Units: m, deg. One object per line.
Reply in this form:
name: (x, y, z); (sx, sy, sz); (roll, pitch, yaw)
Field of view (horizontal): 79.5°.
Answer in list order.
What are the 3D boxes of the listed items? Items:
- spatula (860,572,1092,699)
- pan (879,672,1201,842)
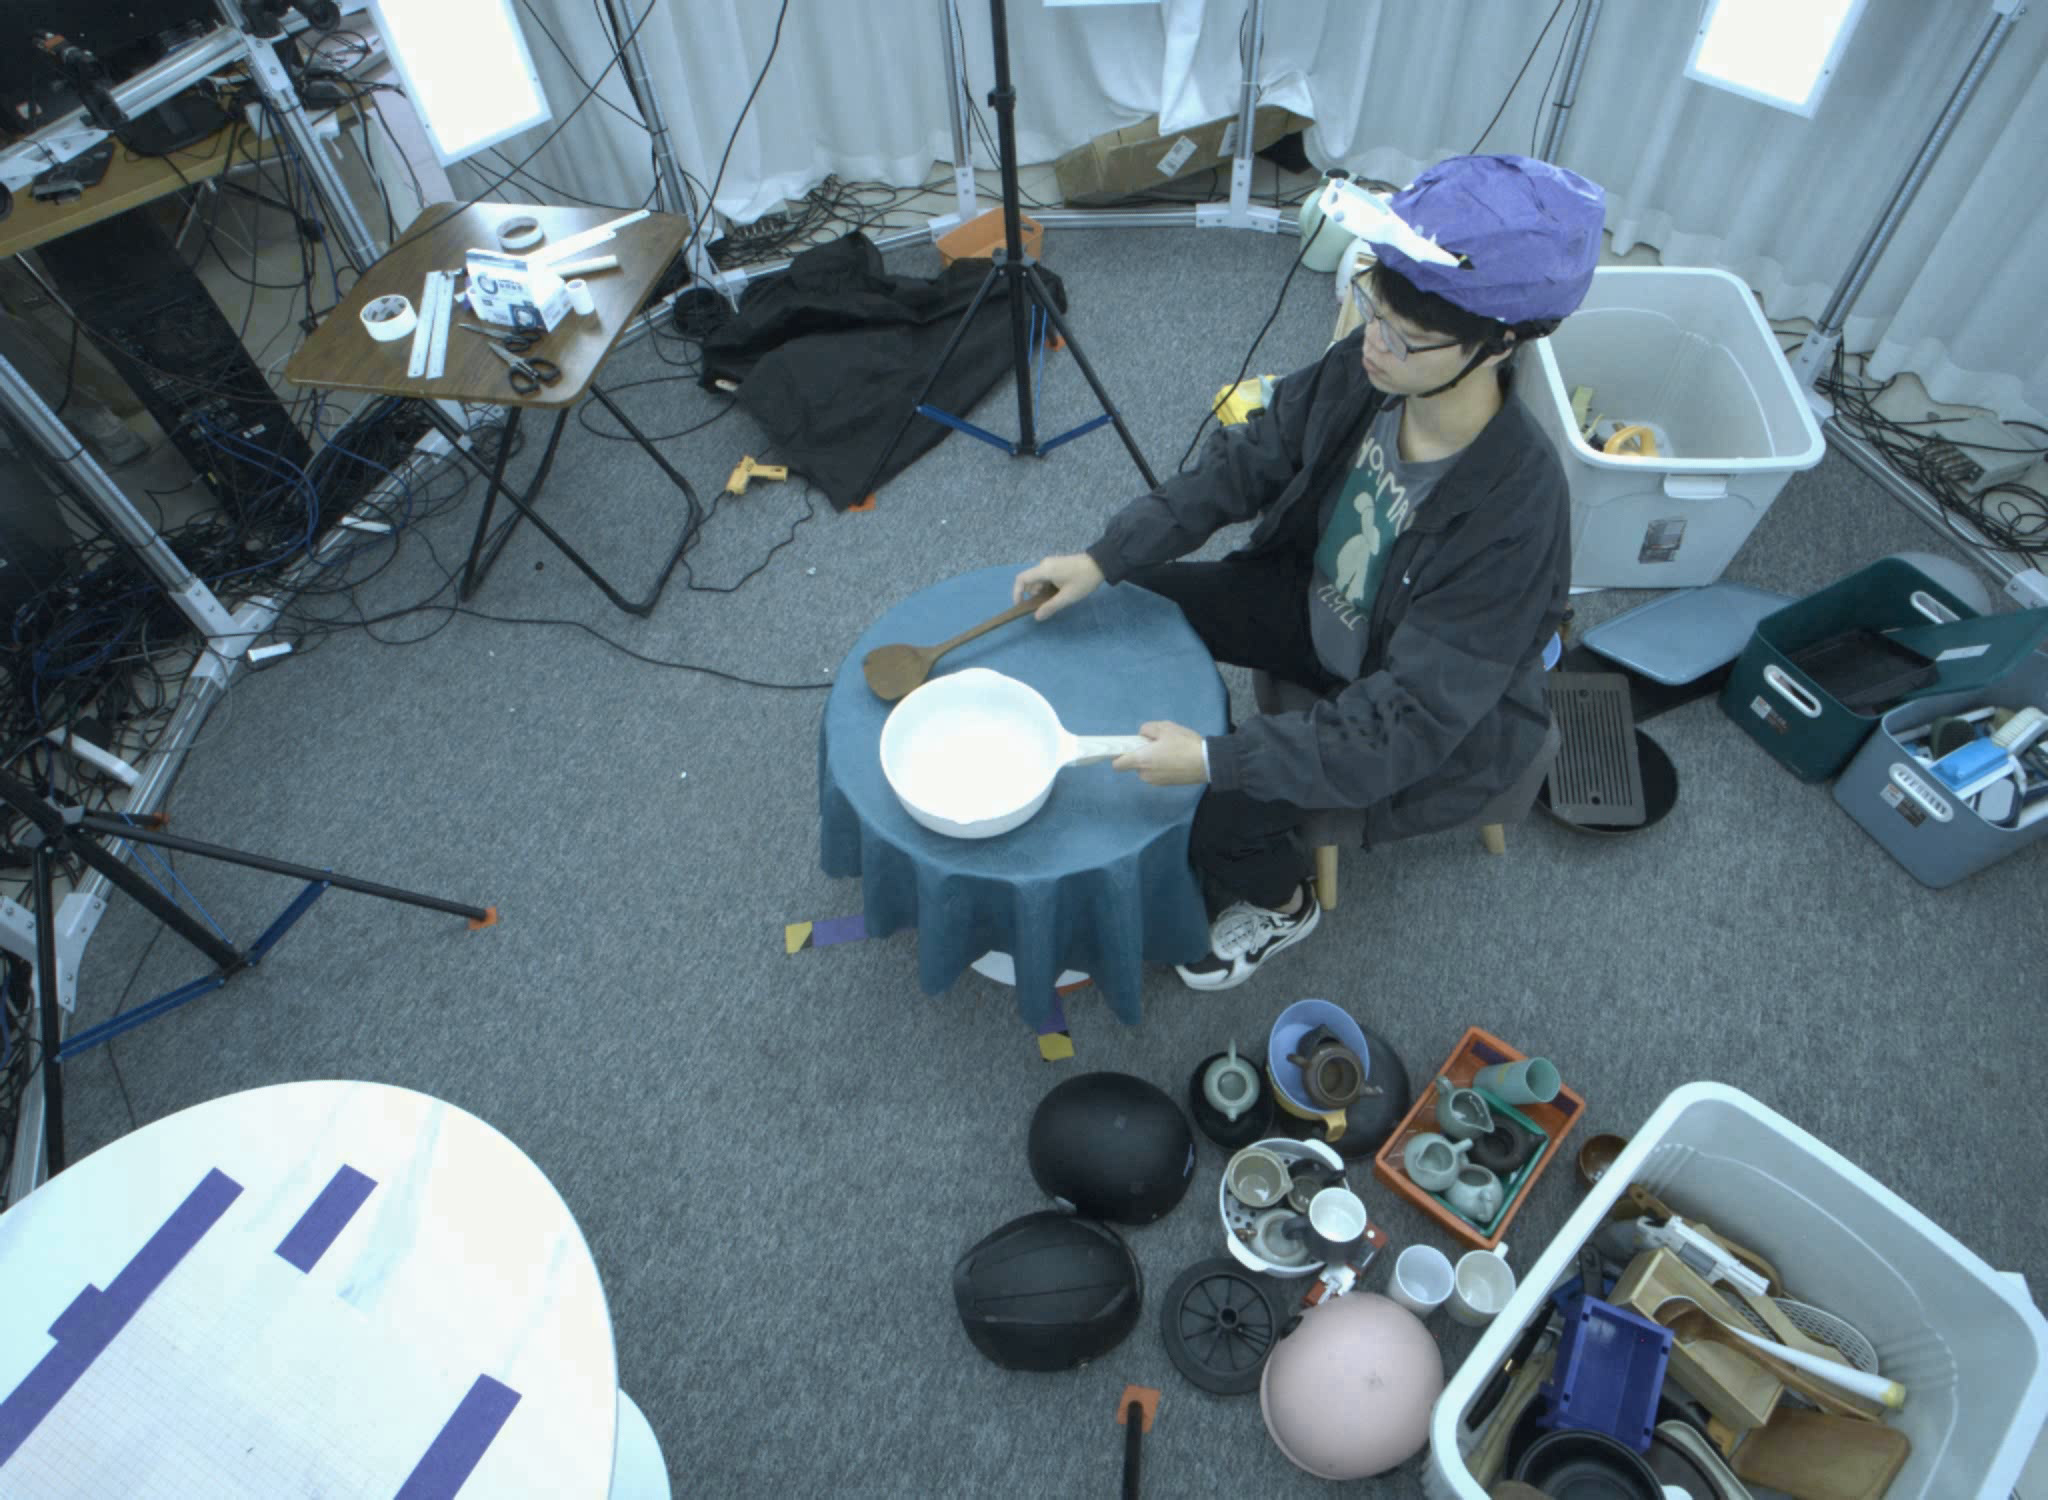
spatula: (-0.066, -0.187, 1.869); (0.388, 0.016, 0.095); (-27, 67, -13)
pan: (0.022, 0.016, 1.696); (0.435, 0.103, 0.261); (2, 54, 1)
